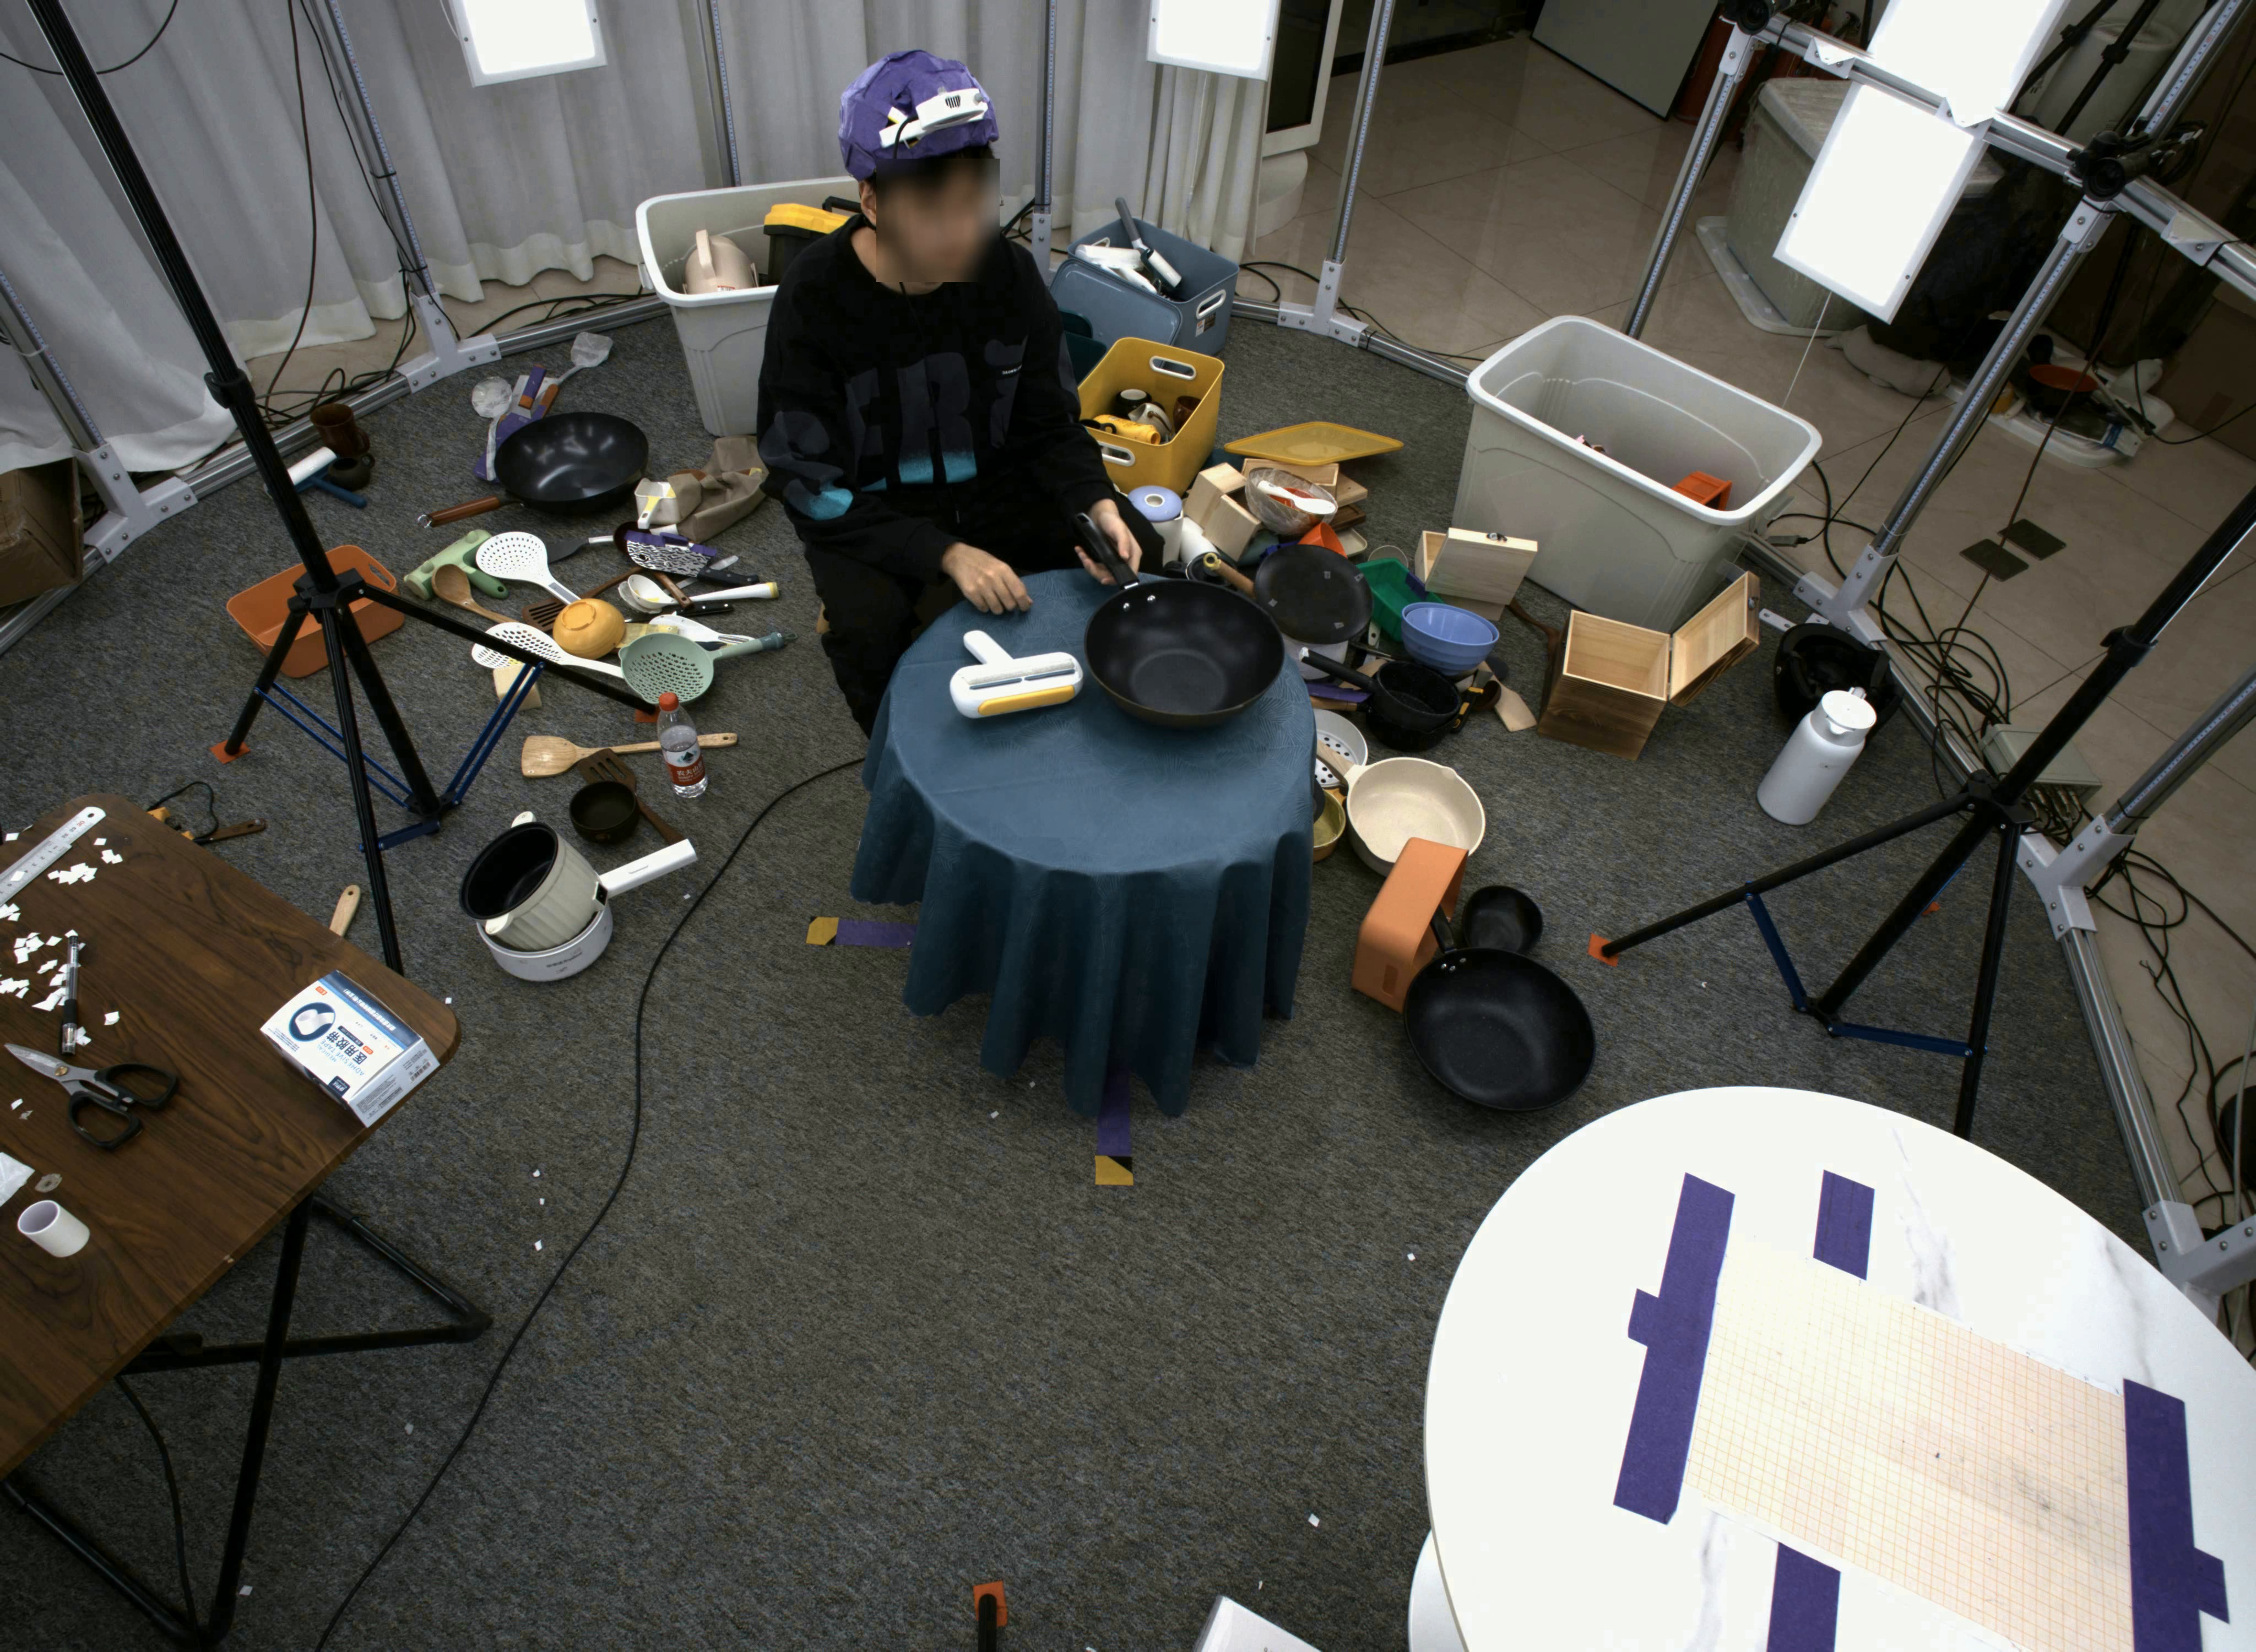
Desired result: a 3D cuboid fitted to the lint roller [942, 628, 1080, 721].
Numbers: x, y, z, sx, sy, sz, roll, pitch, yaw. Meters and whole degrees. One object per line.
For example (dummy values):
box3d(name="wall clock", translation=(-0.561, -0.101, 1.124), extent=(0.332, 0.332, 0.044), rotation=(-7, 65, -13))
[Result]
box3d(name="lint roller", translation=(-0.183, -0.229, 1.812), extent=(0.193, 0.072, 0.197), rotation=(-13, 49, -21))

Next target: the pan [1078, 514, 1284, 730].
box3d(name="pan", translation=(0.032, -0.292, 1.870), extent=(0.289, 0.085, 0.473), rotation=(-20, 53, -20))
